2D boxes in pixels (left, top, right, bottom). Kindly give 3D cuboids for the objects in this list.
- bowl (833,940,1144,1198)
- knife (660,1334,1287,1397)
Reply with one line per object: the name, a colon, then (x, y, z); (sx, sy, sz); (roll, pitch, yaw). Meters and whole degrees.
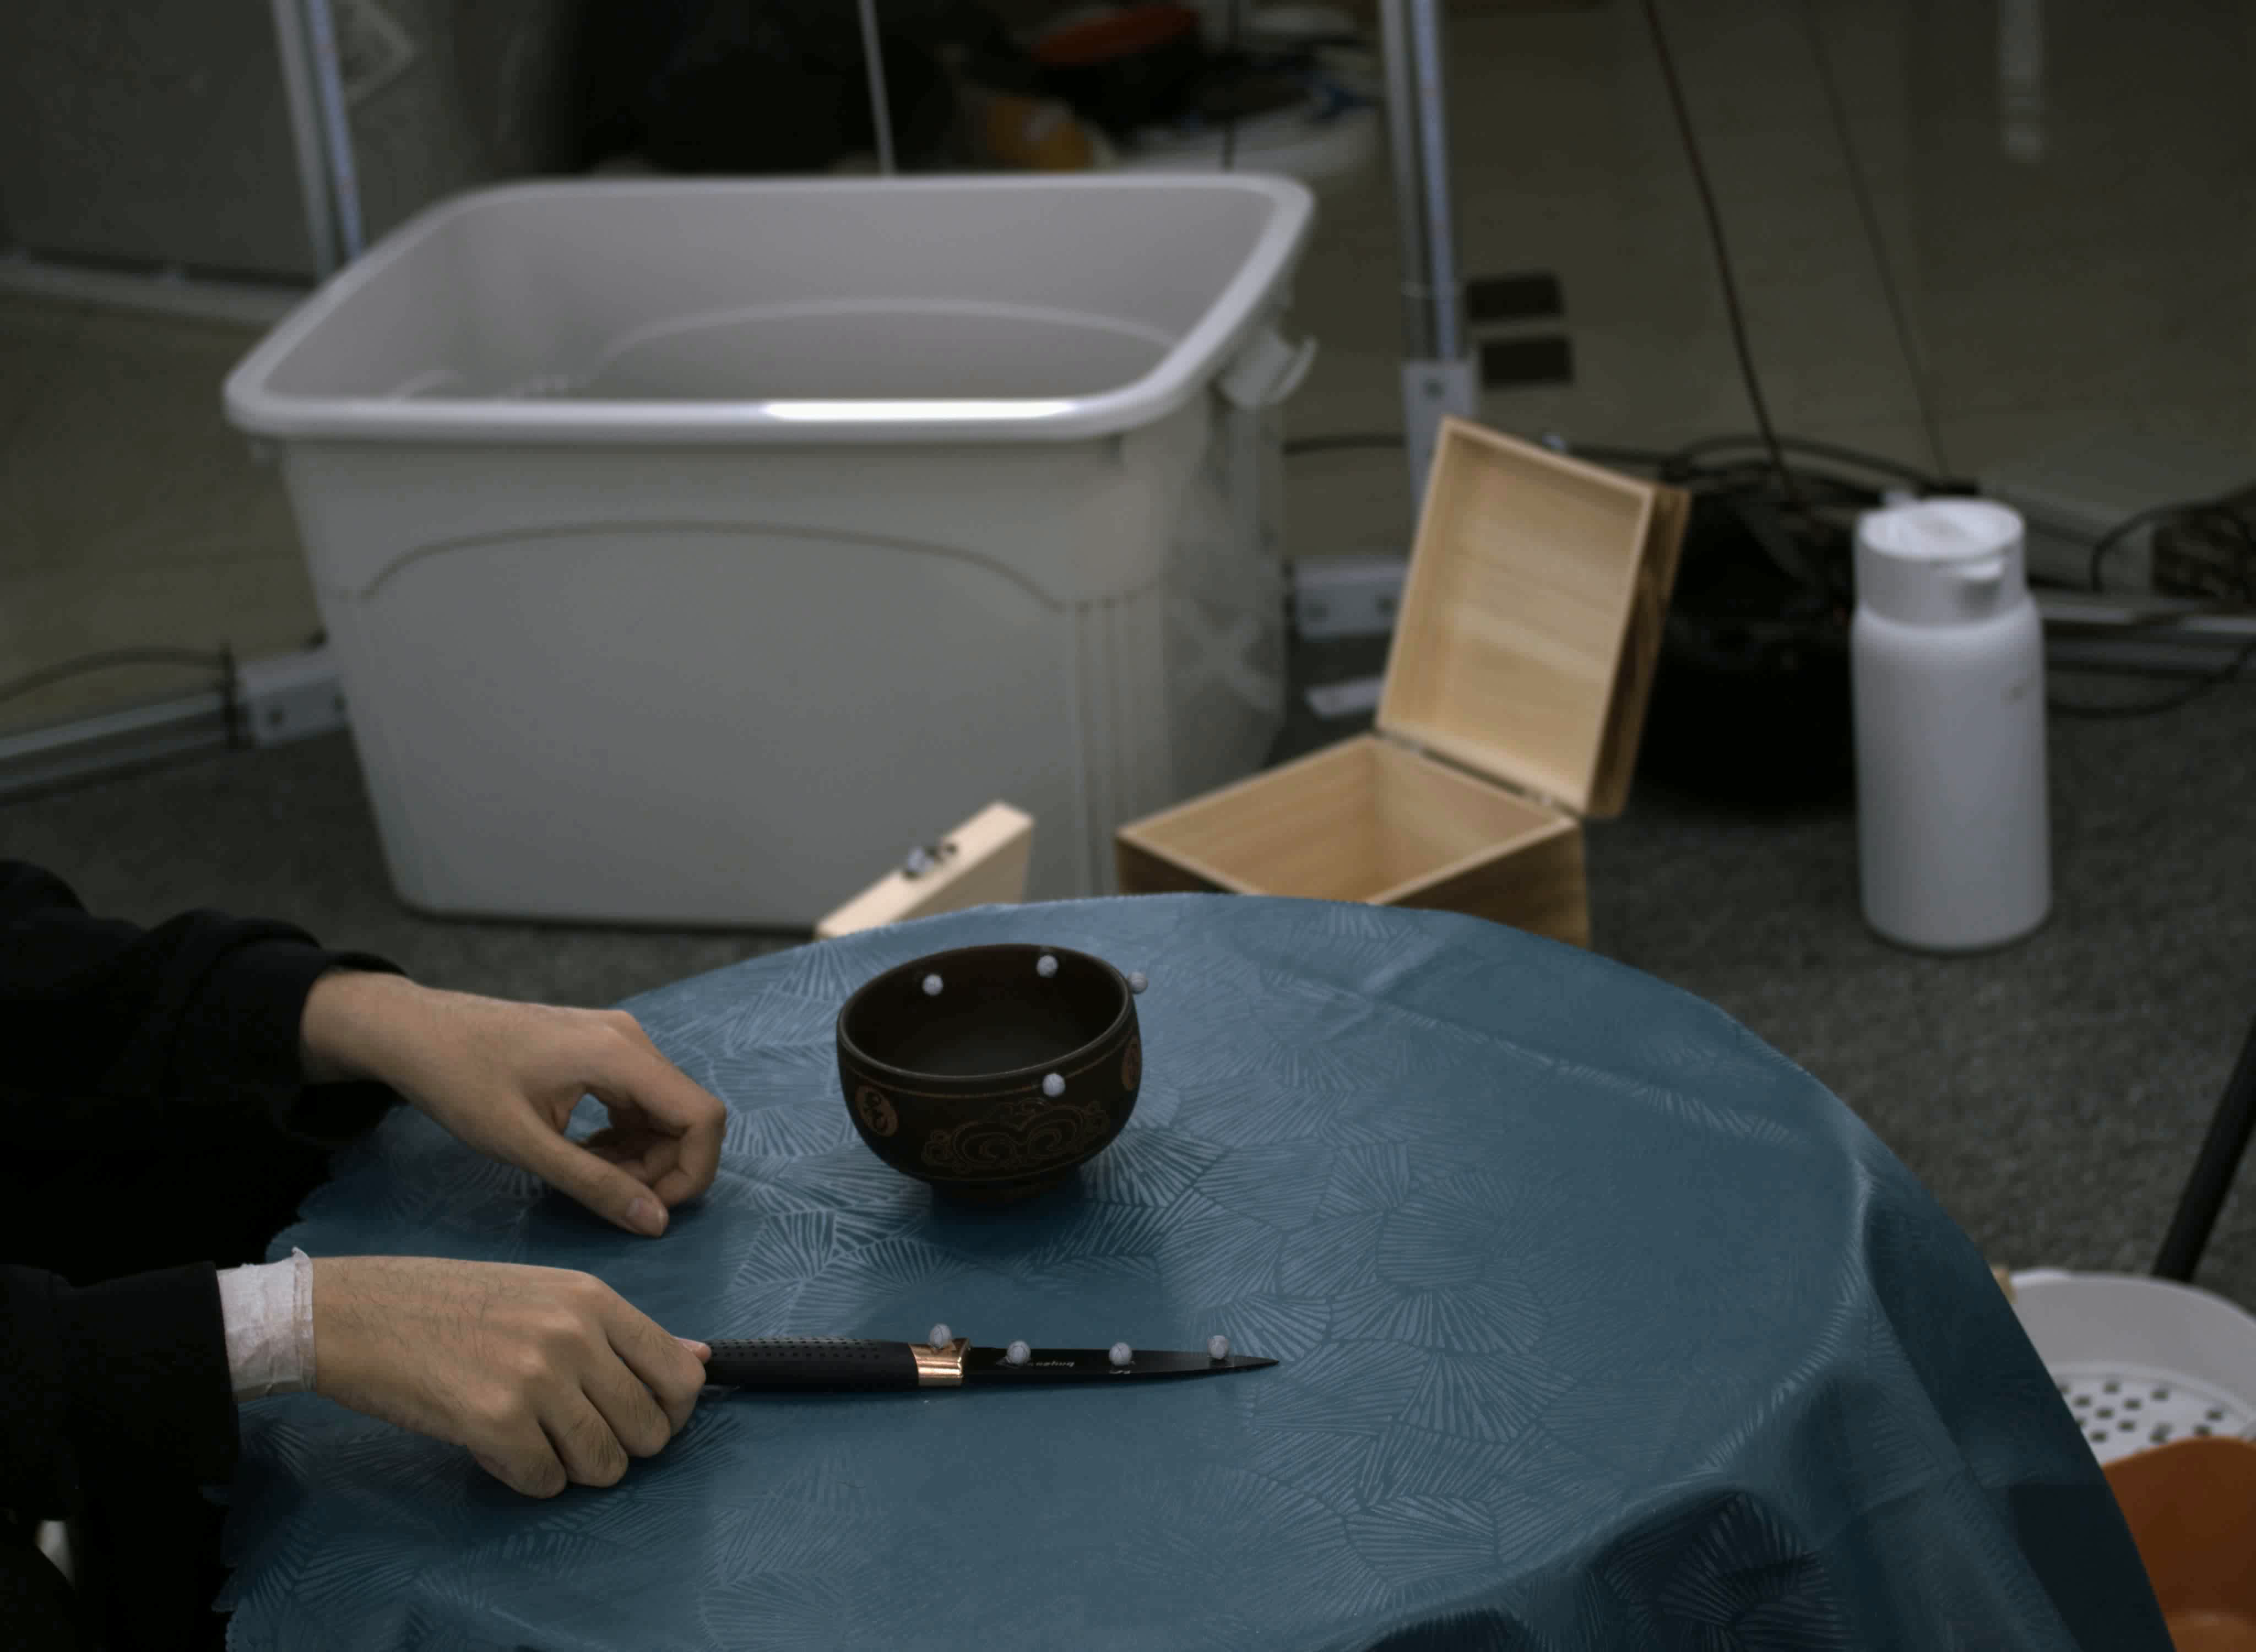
bowl: (-0.050, 0.098, 2.157); (0.118, 0.071, 0.116); (-7, 24, 3)
knife: (-0.056, 0.192, 2.035); (0.225, 0.017, 0.026); (-3, 19, 5)
